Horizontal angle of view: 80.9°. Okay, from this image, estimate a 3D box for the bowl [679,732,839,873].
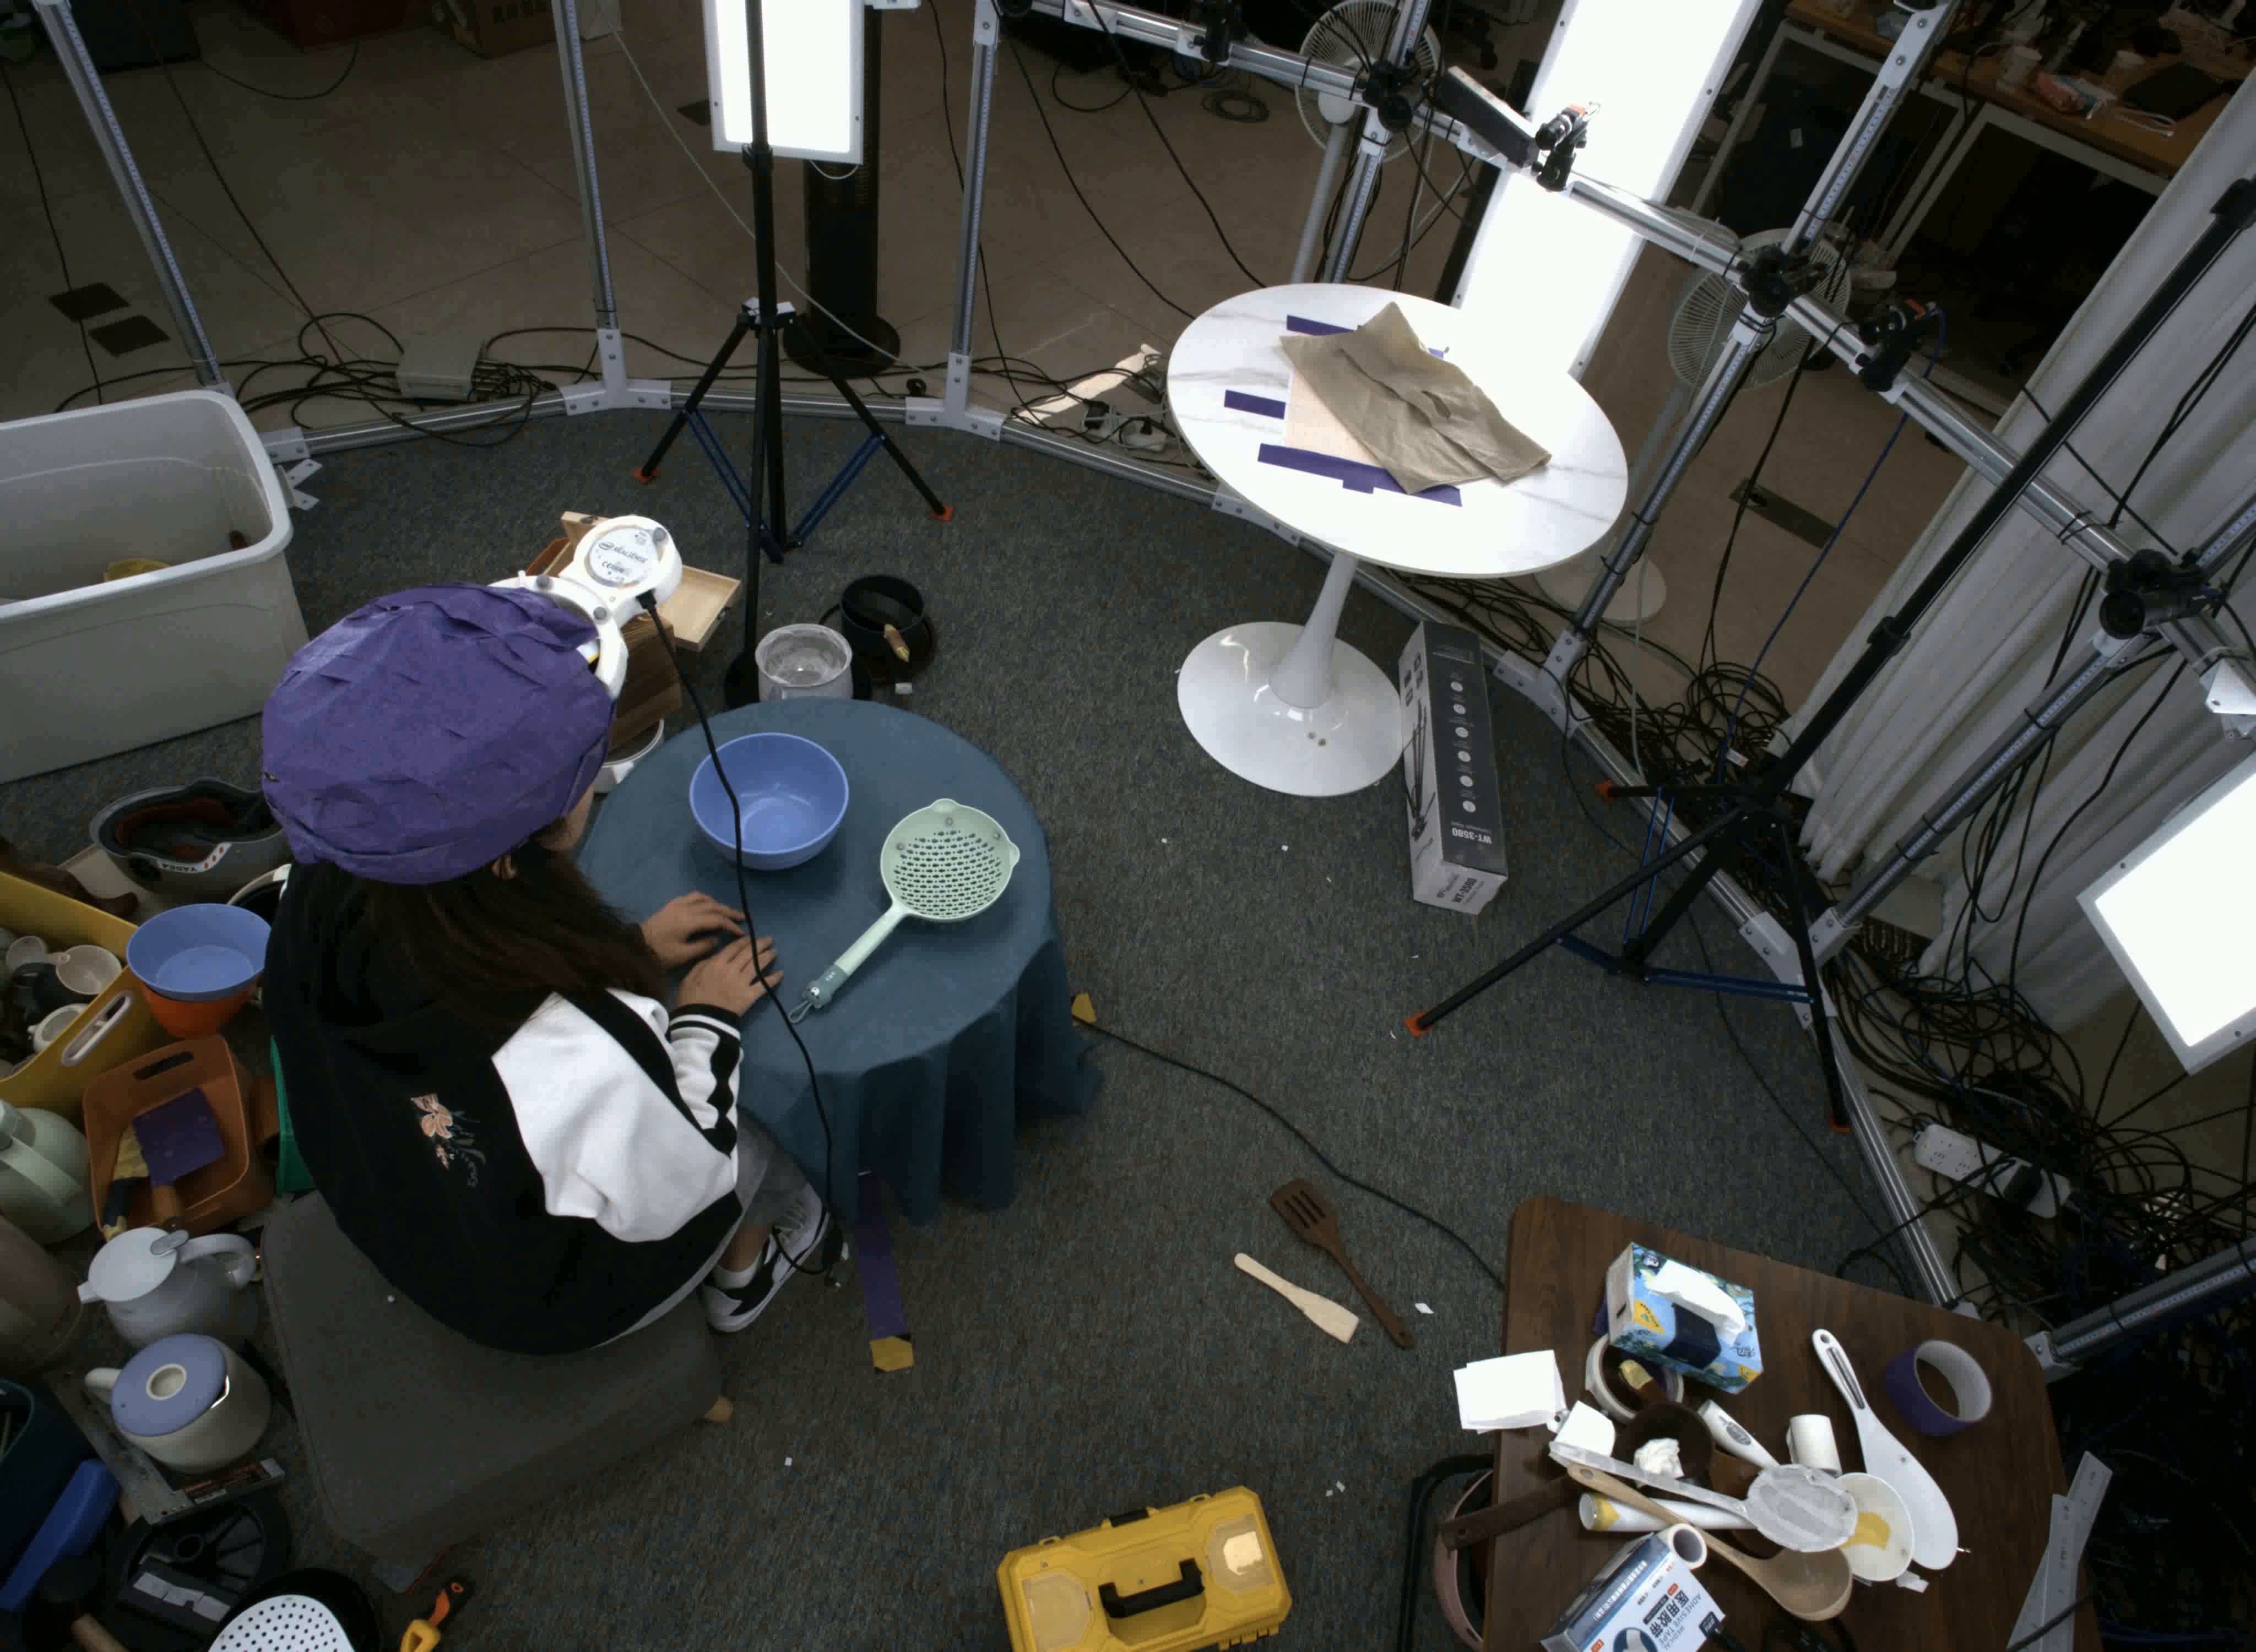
[{"bbox_3d":[-0.470,-0.016,1.658,0.196,0.097,0.193,8,53,-9],"label":"bowl"}]

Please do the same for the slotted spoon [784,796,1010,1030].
[{"bbox_3d":[-0.301,0.113,1.629,0.166,0.077,0.358,35,54,13],"label":"slotted spoon"}]
